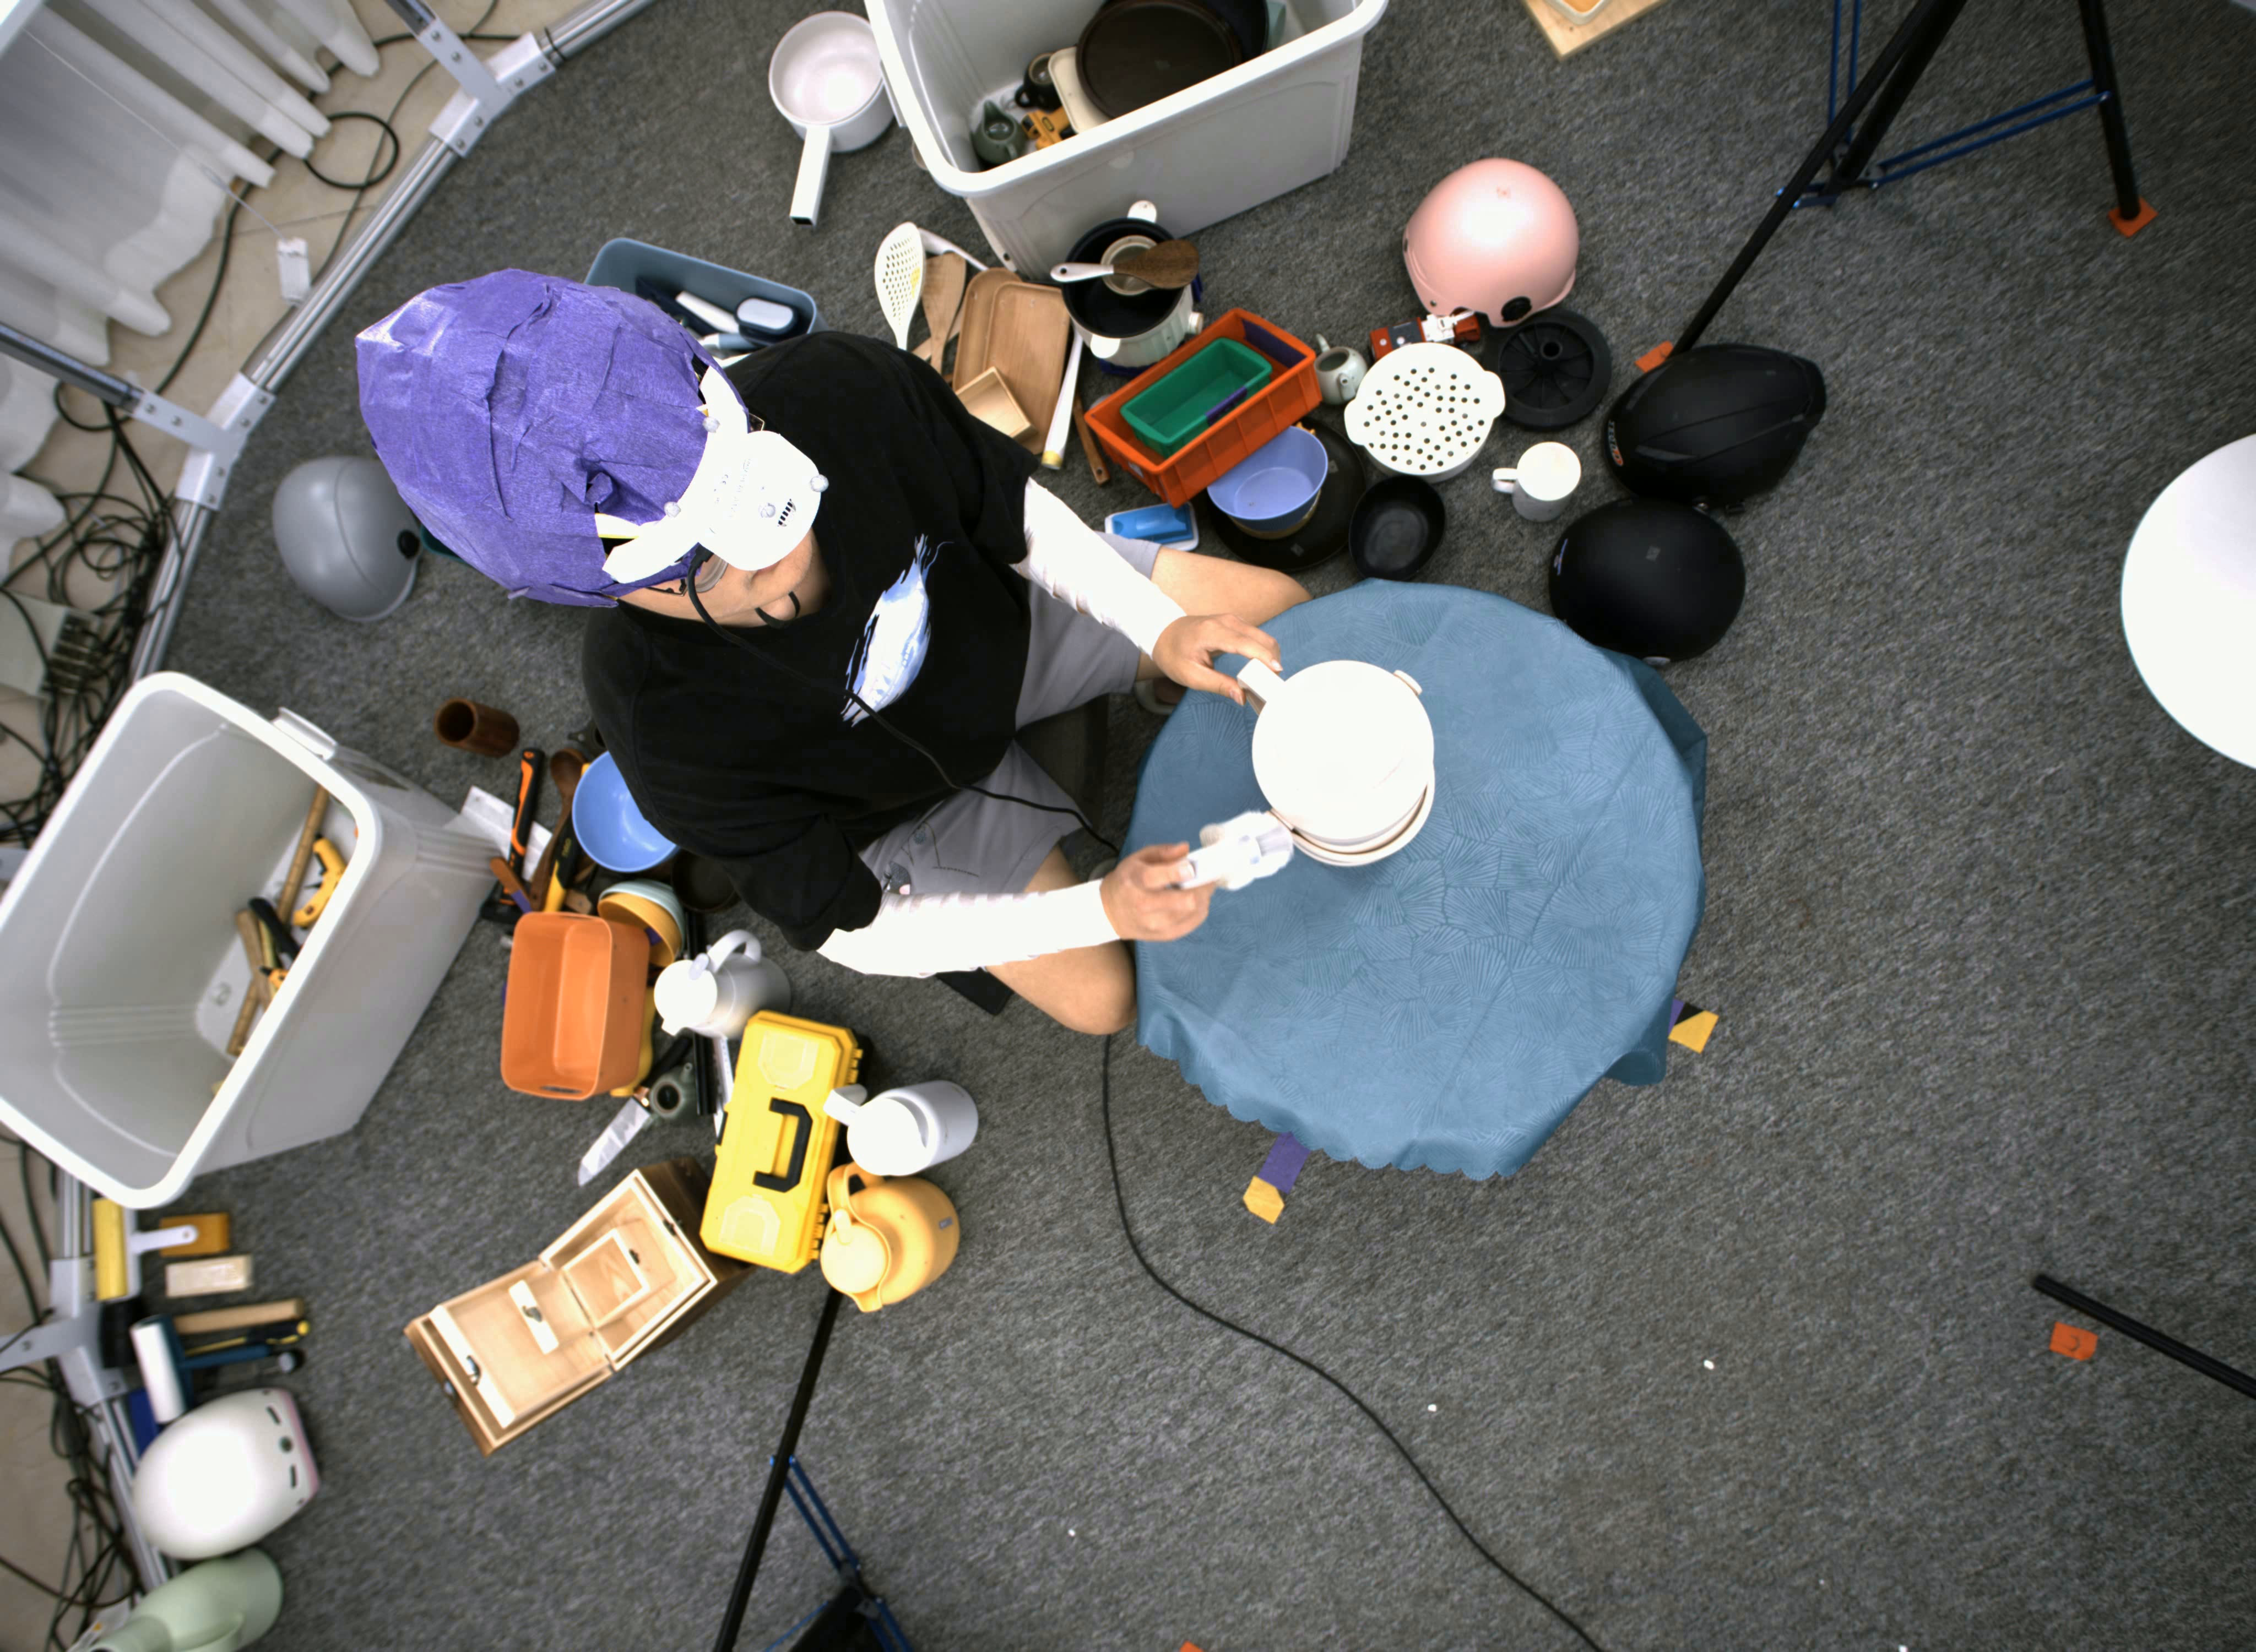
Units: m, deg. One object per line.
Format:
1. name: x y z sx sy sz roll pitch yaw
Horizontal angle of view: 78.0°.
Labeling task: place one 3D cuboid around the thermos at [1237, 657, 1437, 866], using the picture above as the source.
1. thermos: 0.192 -0.067 1.280 0.206 0.406 0.176 43 94 11

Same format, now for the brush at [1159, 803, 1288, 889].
1. brush: 0.078 0.021 1.210 0.093 0.177 0.061 -27 90 -13
